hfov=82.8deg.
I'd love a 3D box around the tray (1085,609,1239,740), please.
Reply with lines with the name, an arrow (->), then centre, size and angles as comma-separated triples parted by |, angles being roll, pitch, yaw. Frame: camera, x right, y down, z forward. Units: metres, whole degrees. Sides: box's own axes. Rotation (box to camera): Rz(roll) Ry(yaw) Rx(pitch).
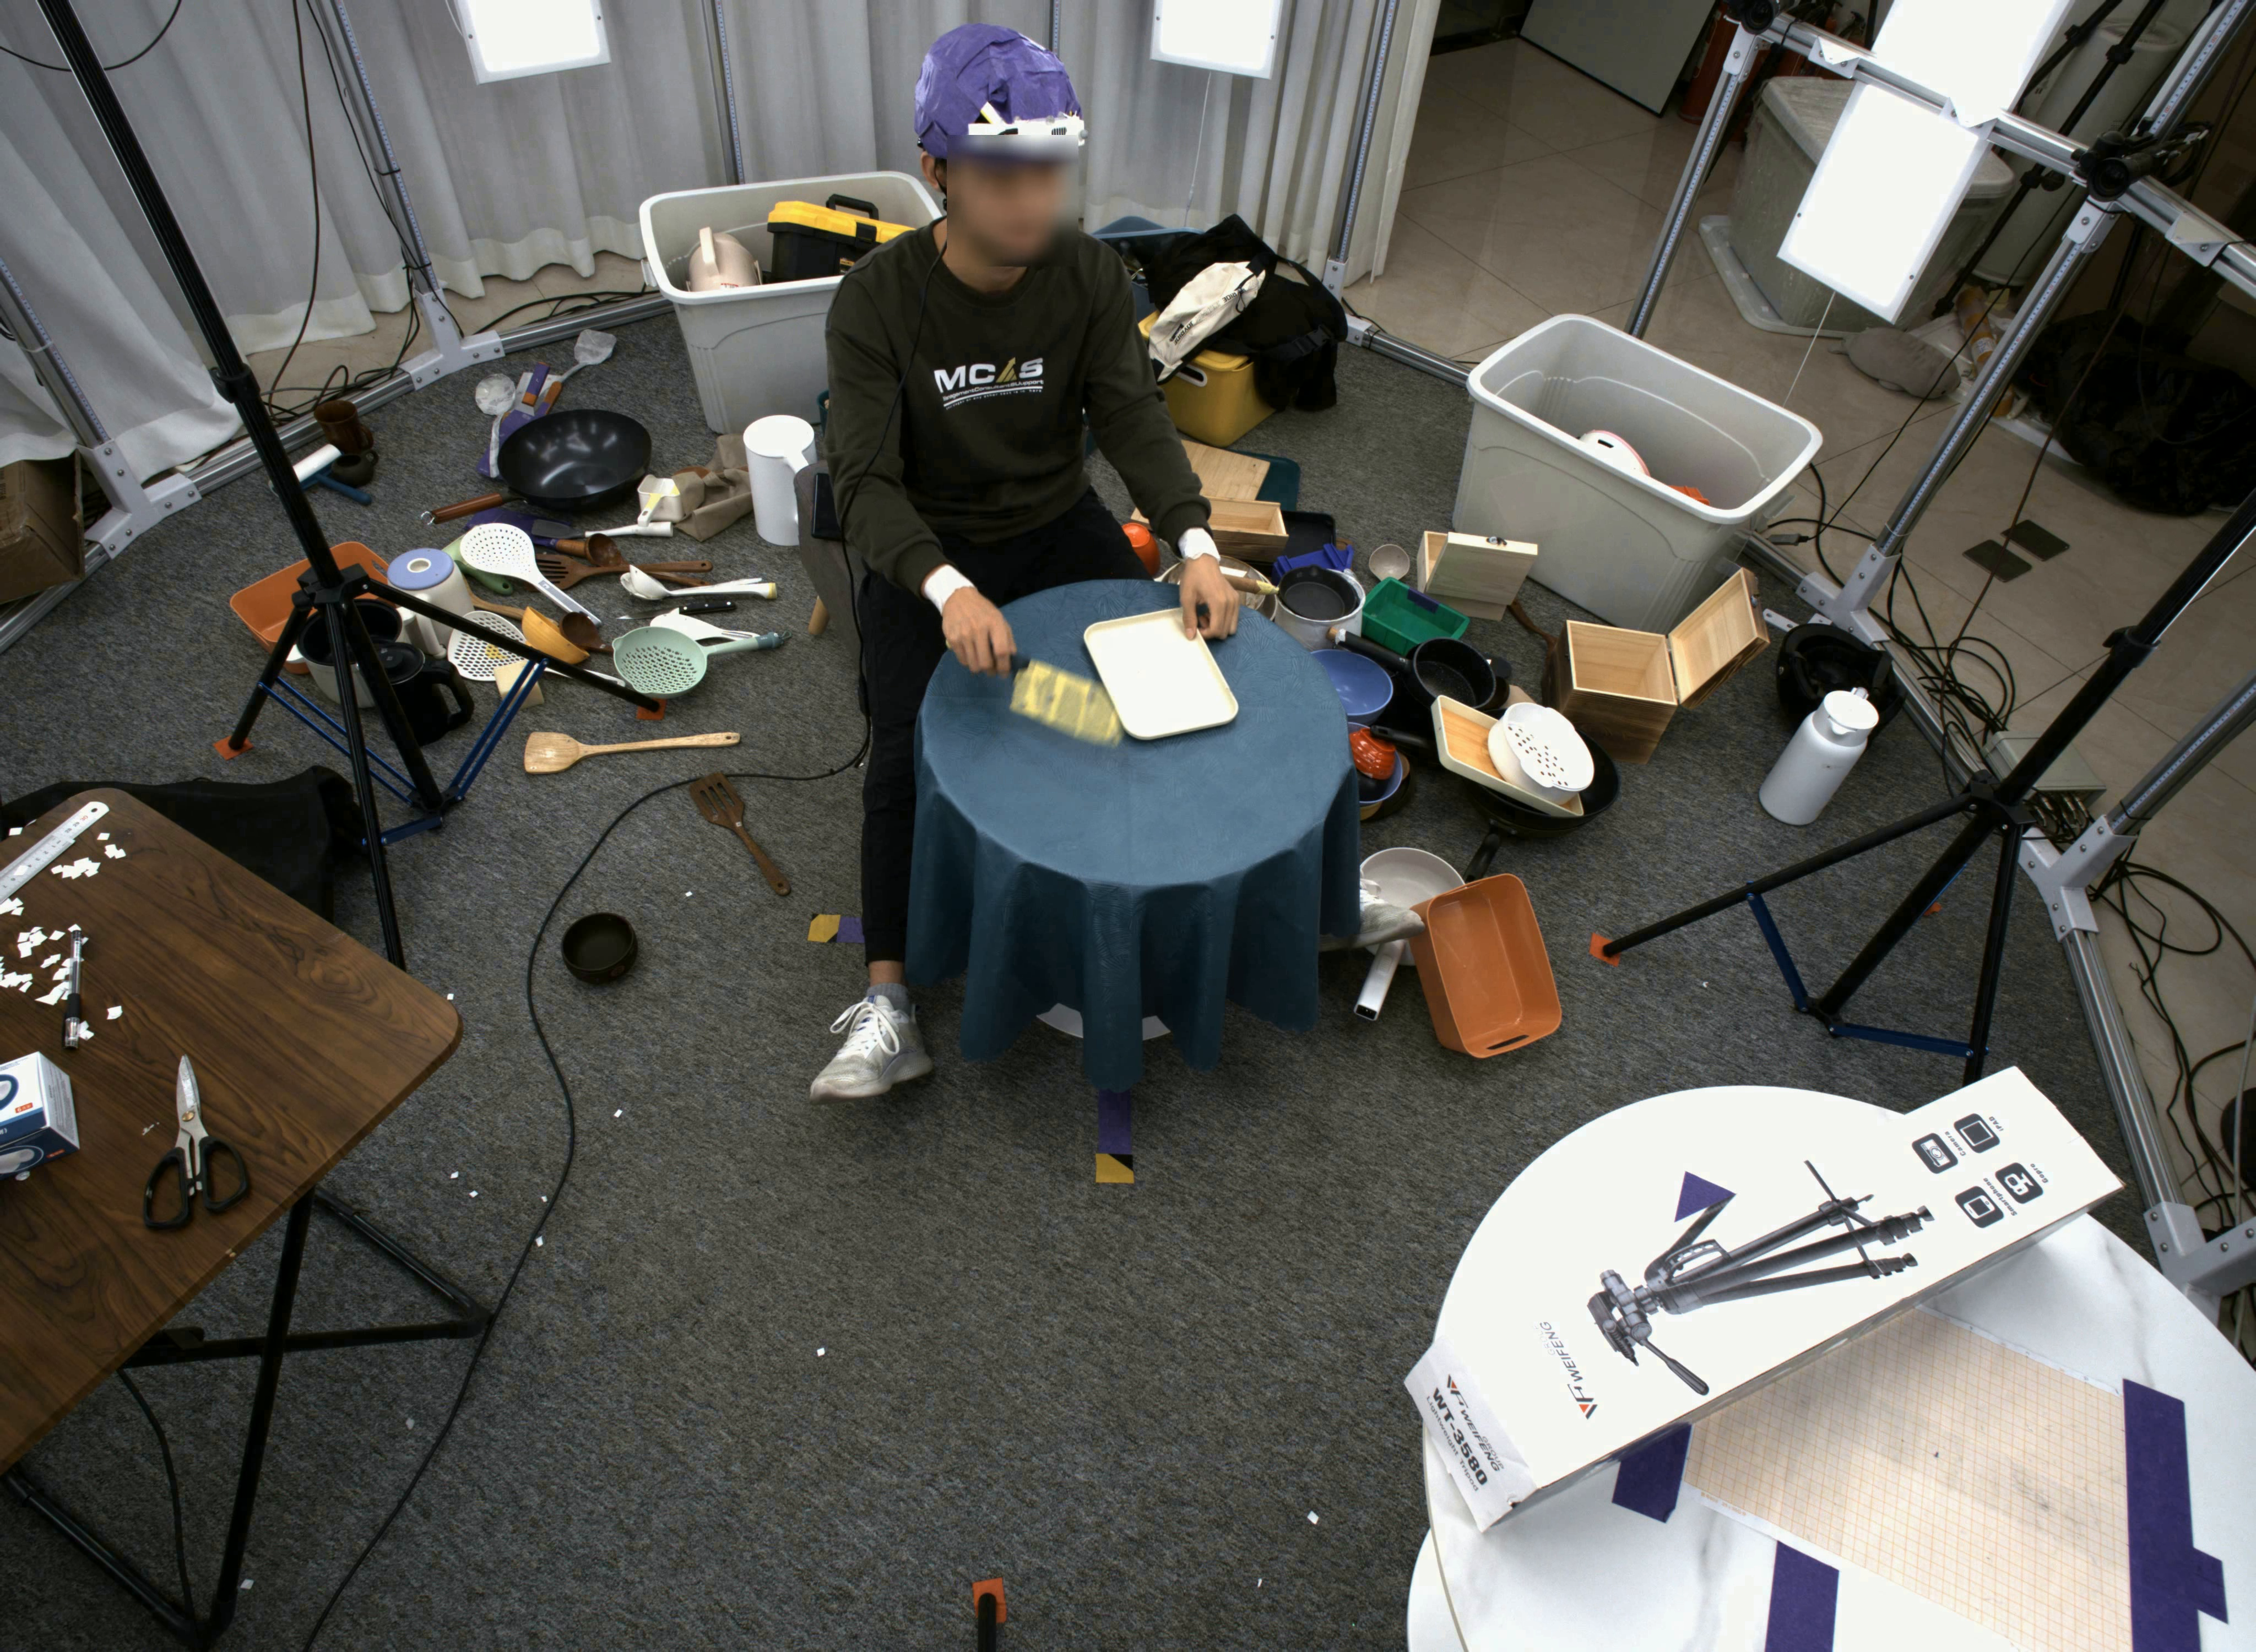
tray -> 0.046, -0.220, 1.848 | 0.171, 0.017, 0.245 | -13, 52, -13

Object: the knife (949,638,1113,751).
knife -> -0.134, -0.180, 1.736 | 0.293, 0.080, 0.027 | 31, 20, 24
